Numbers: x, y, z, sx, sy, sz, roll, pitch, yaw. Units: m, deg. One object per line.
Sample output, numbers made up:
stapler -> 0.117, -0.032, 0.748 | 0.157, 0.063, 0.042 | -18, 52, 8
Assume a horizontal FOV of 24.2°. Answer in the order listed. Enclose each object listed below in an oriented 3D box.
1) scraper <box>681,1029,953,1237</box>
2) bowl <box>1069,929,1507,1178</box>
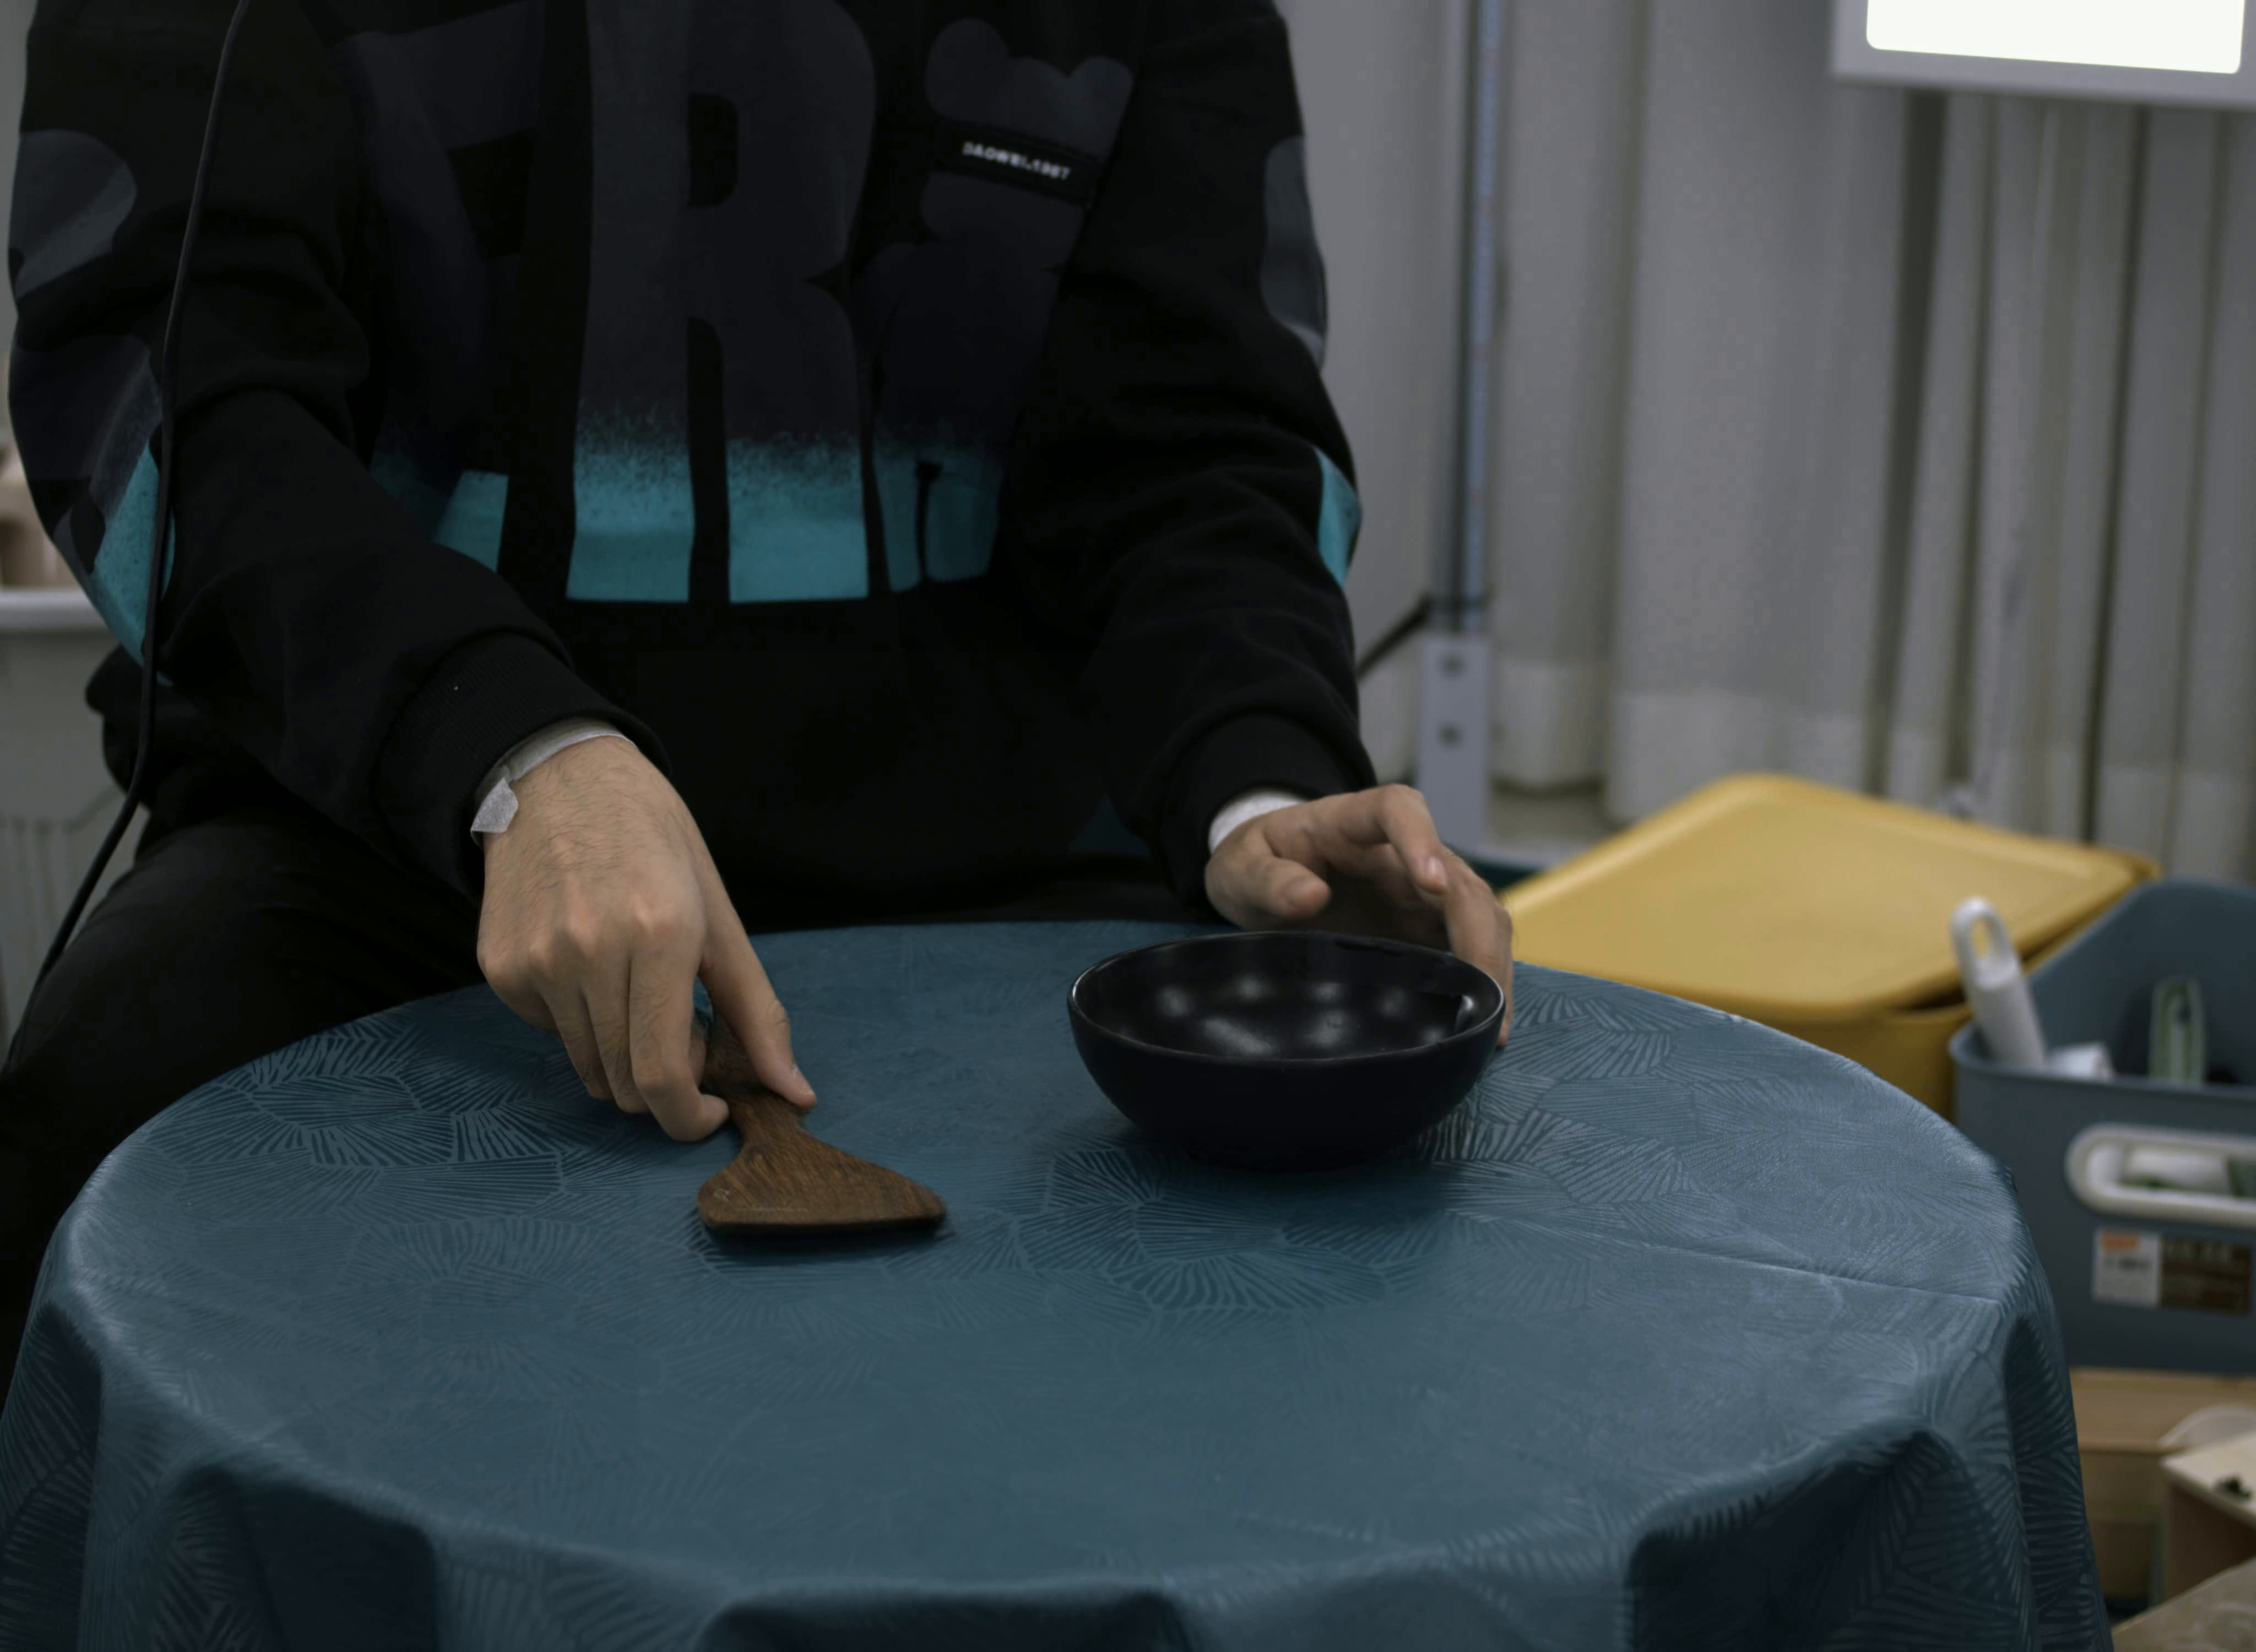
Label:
scraper -> -0.111, 0.096, 1.663 | 0.076, 0.011, 0.209 | 0, 15, -15
bowl -> 0.052, 0.077, 1.668 | 0.139, 0.050, 0.139 | -2, 16, 1
